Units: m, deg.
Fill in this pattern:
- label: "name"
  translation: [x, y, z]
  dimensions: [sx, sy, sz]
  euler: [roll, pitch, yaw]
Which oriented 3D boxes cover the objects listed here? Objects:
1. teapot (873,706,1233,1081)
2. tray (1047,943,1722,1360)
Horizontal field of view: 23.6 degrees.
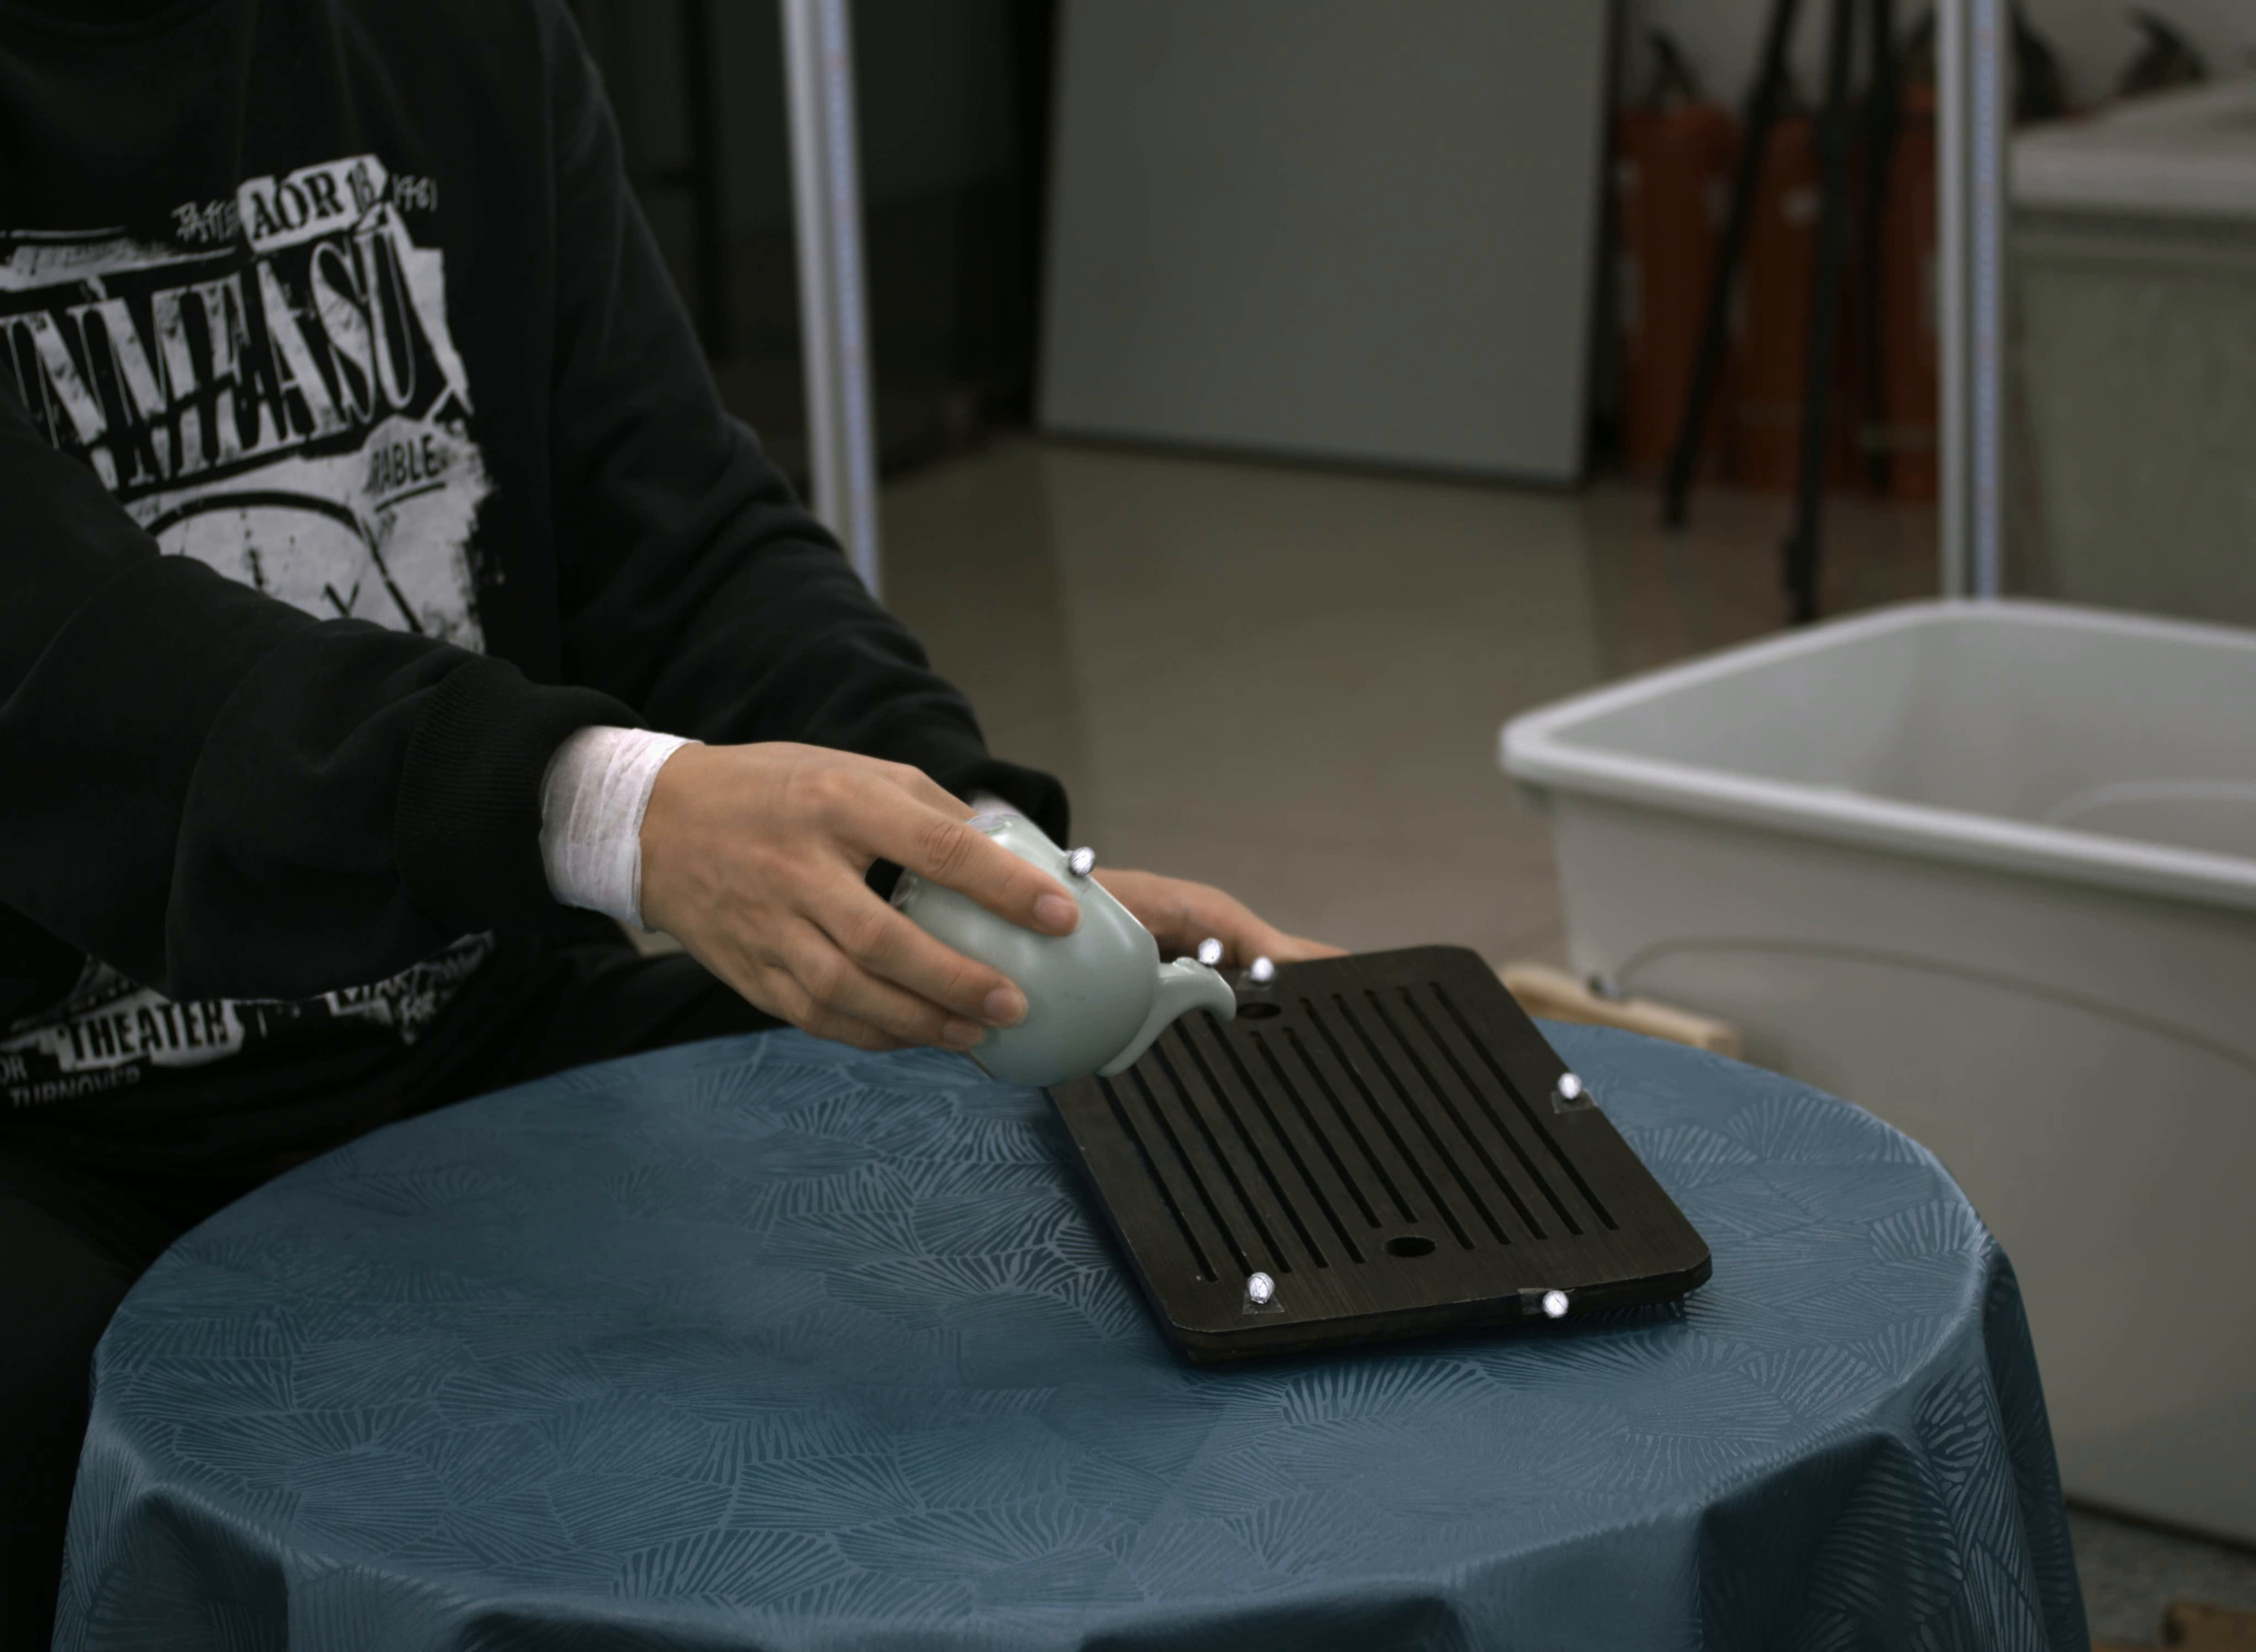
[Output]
- label: "teapot"
  translation: [-0.033, 0.035, 1.652]
  dimensions: [0.074, 0.143, 0.089]
  euler: [-45, 24, -5]
- label: "tray"
  translation: [0.072, 0.102, 1.747]
  dimensions: [0.167, 0.019, 0.308]
  euler: [-7, 18, -8]
